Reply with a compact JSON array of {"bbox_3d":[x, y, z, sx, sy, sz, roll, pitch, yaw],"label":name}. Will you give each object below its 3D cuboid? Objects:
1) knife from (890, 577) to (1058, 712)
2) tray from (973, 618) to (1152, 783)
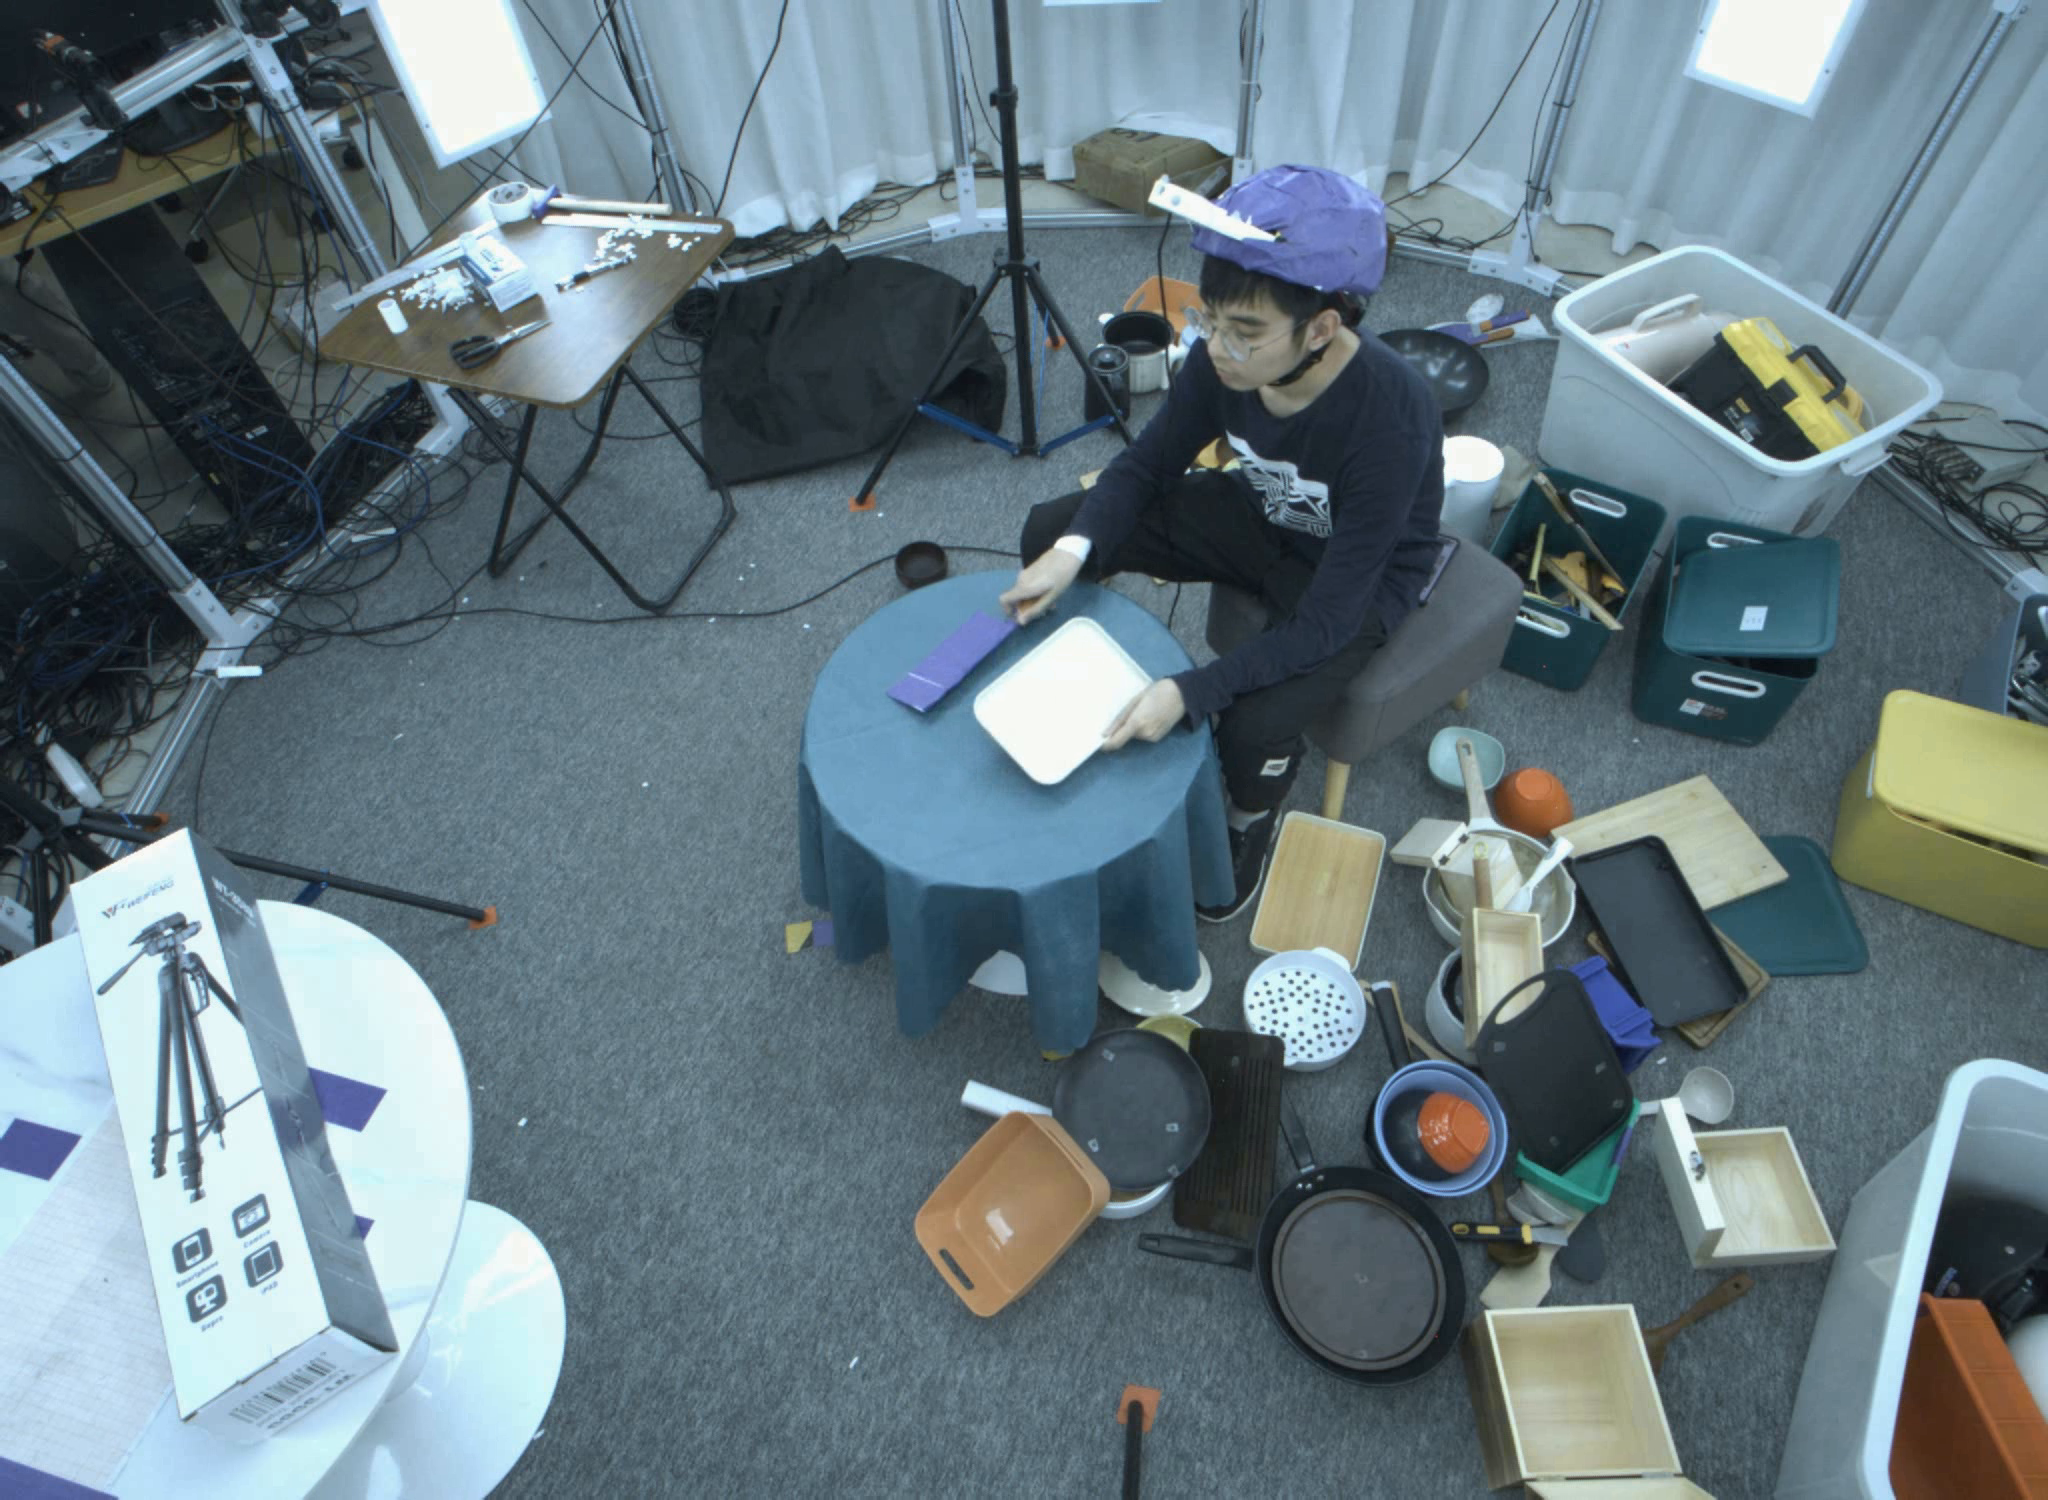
[{"bbox_3d":[-0.079,-0.174,1.893,0.101,0.033,0.317,26,58,35],"label":"knife"},{"bbox_3d":[0.056,-0.072,1.773,0.241,0.017,0.170,-41,82,-21],"label":"tray"}]
